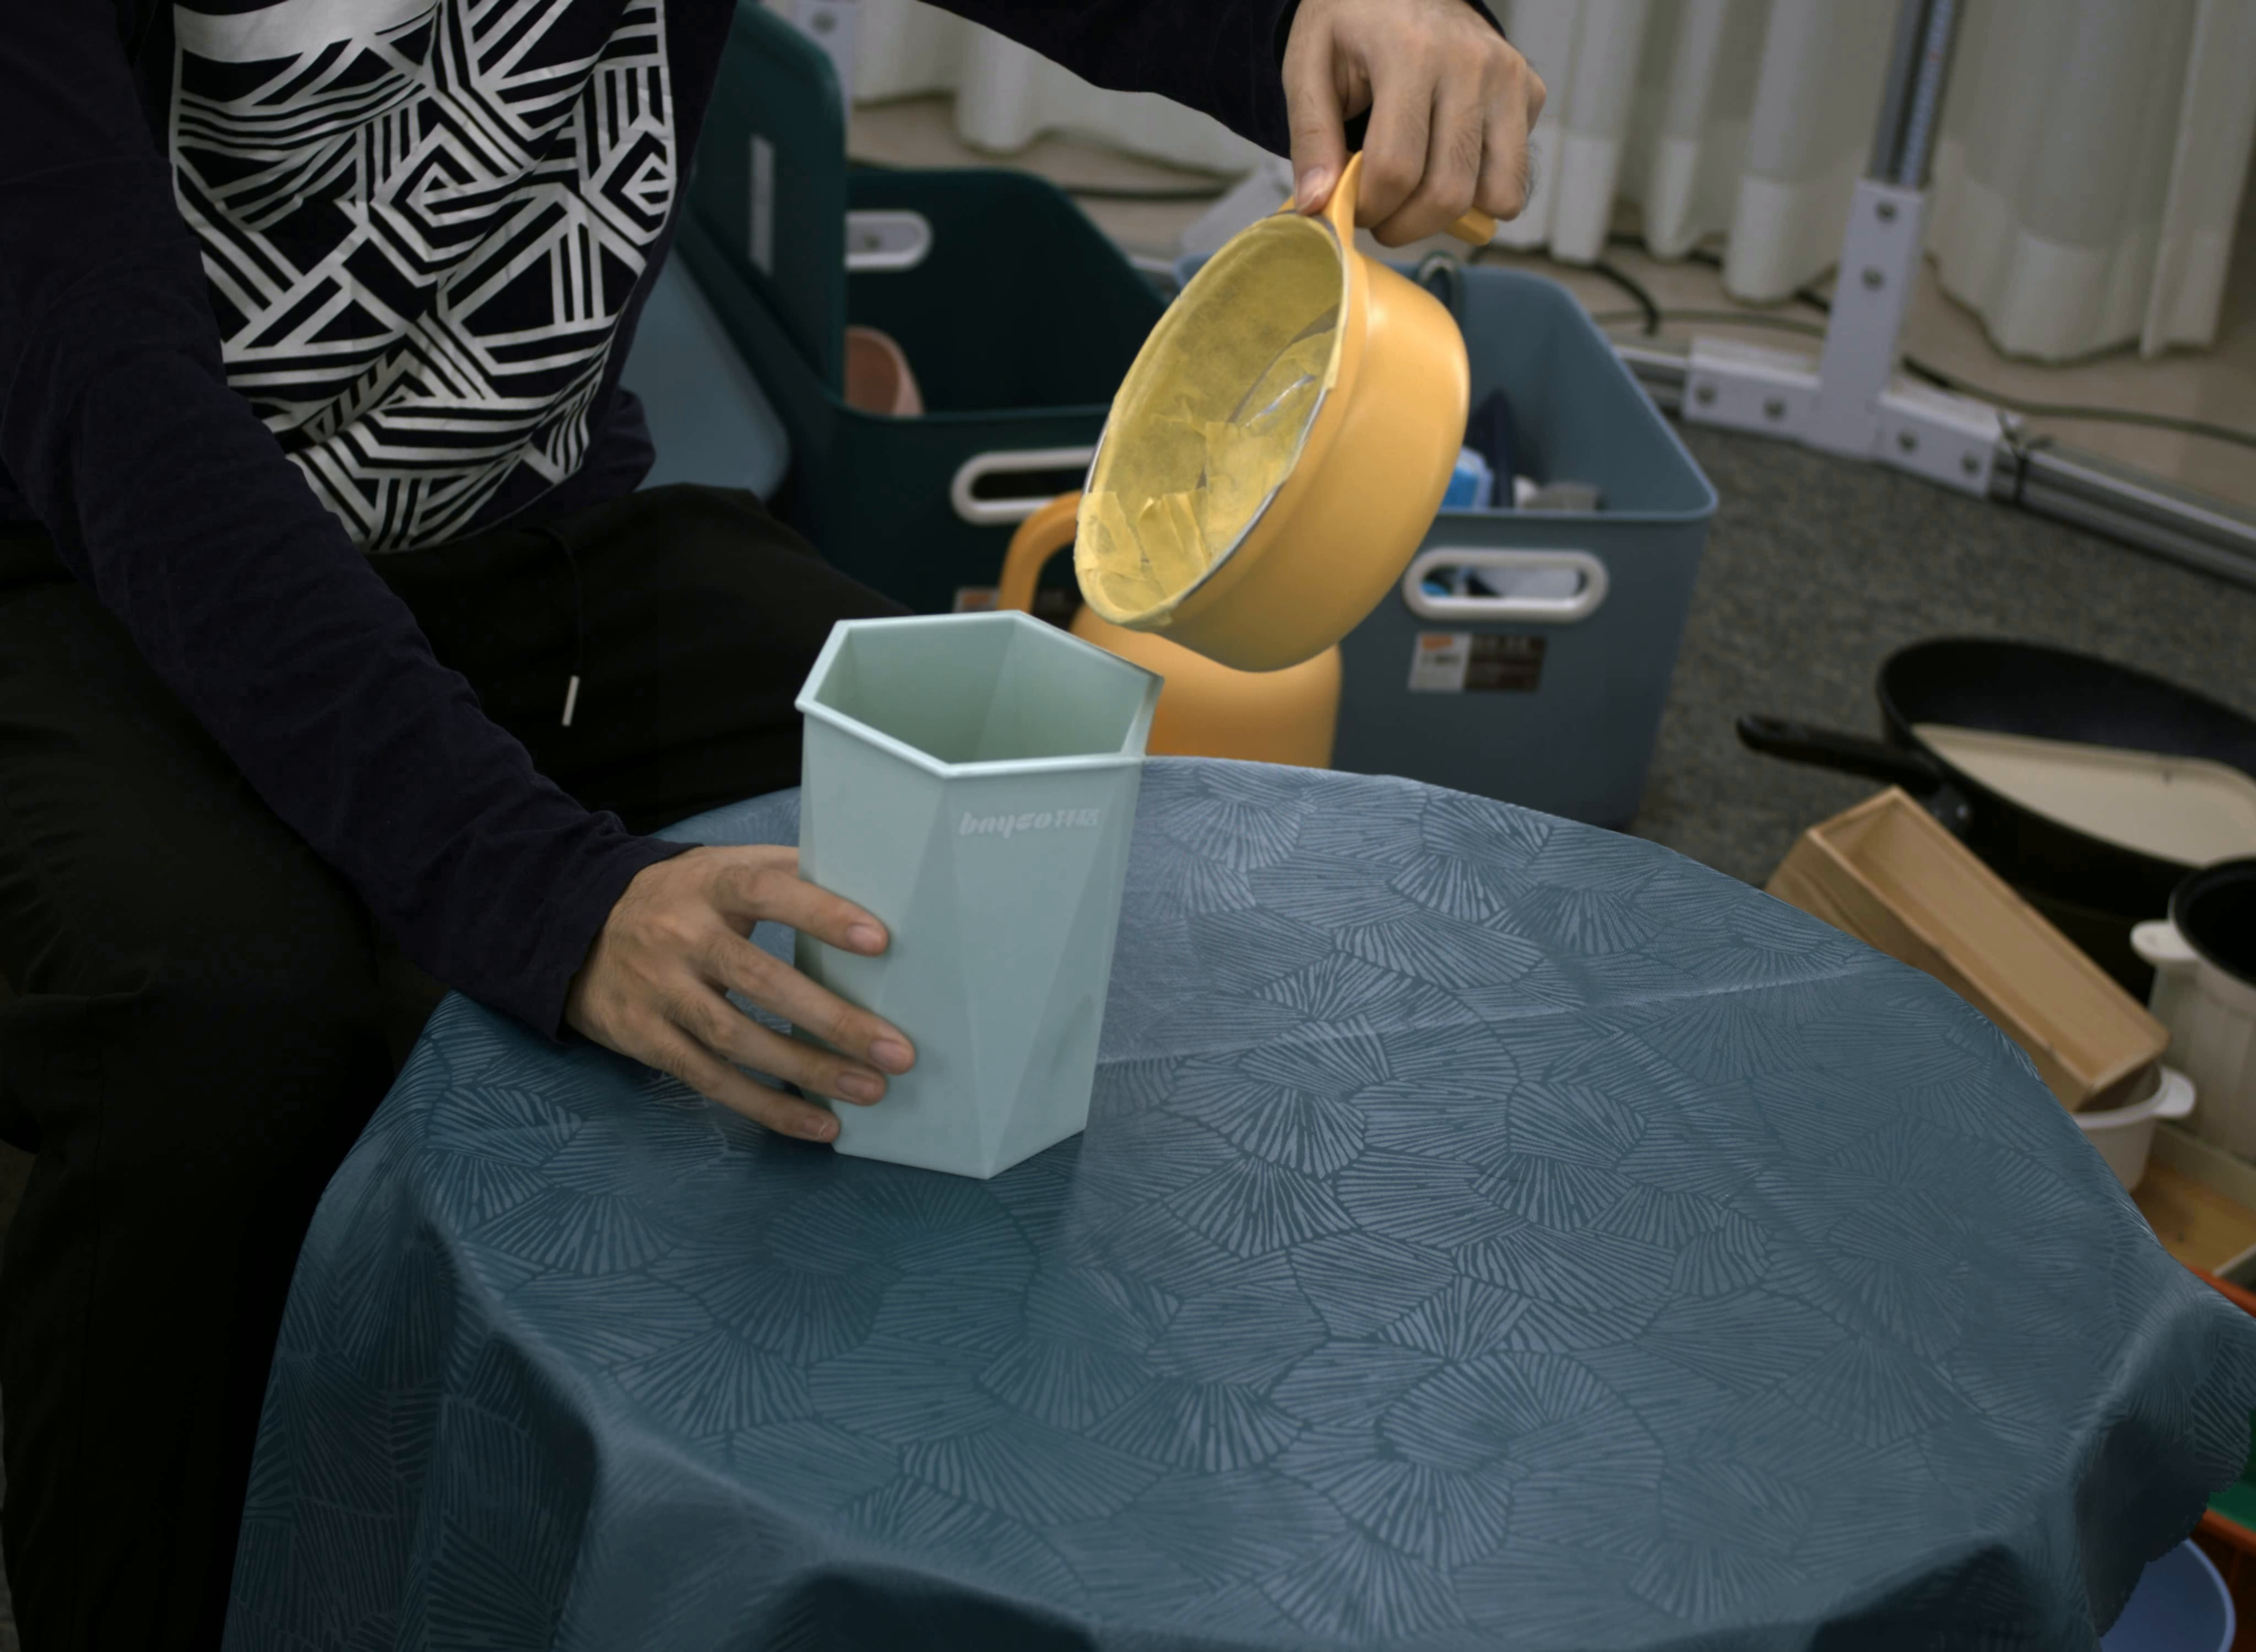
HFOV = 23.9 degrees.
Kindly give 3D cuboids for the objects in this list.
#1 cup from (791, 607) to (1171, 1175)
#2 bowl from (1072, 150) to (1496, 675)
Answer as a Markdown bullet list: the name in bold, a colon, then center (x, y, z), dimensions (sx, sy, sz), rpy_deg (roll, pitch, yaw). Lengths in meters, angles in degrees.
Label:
- **cup**: center (-0.055, 0.024, 1.810), dimensions (0.130, 0.162, 0.116), rpy_deg (-4, 27, -22)
- **bowl**: center (0.057, -0.135, 1.774), dimensions (0.074, 0.180, 0.153), rpy_deg (25, -6, -21)
